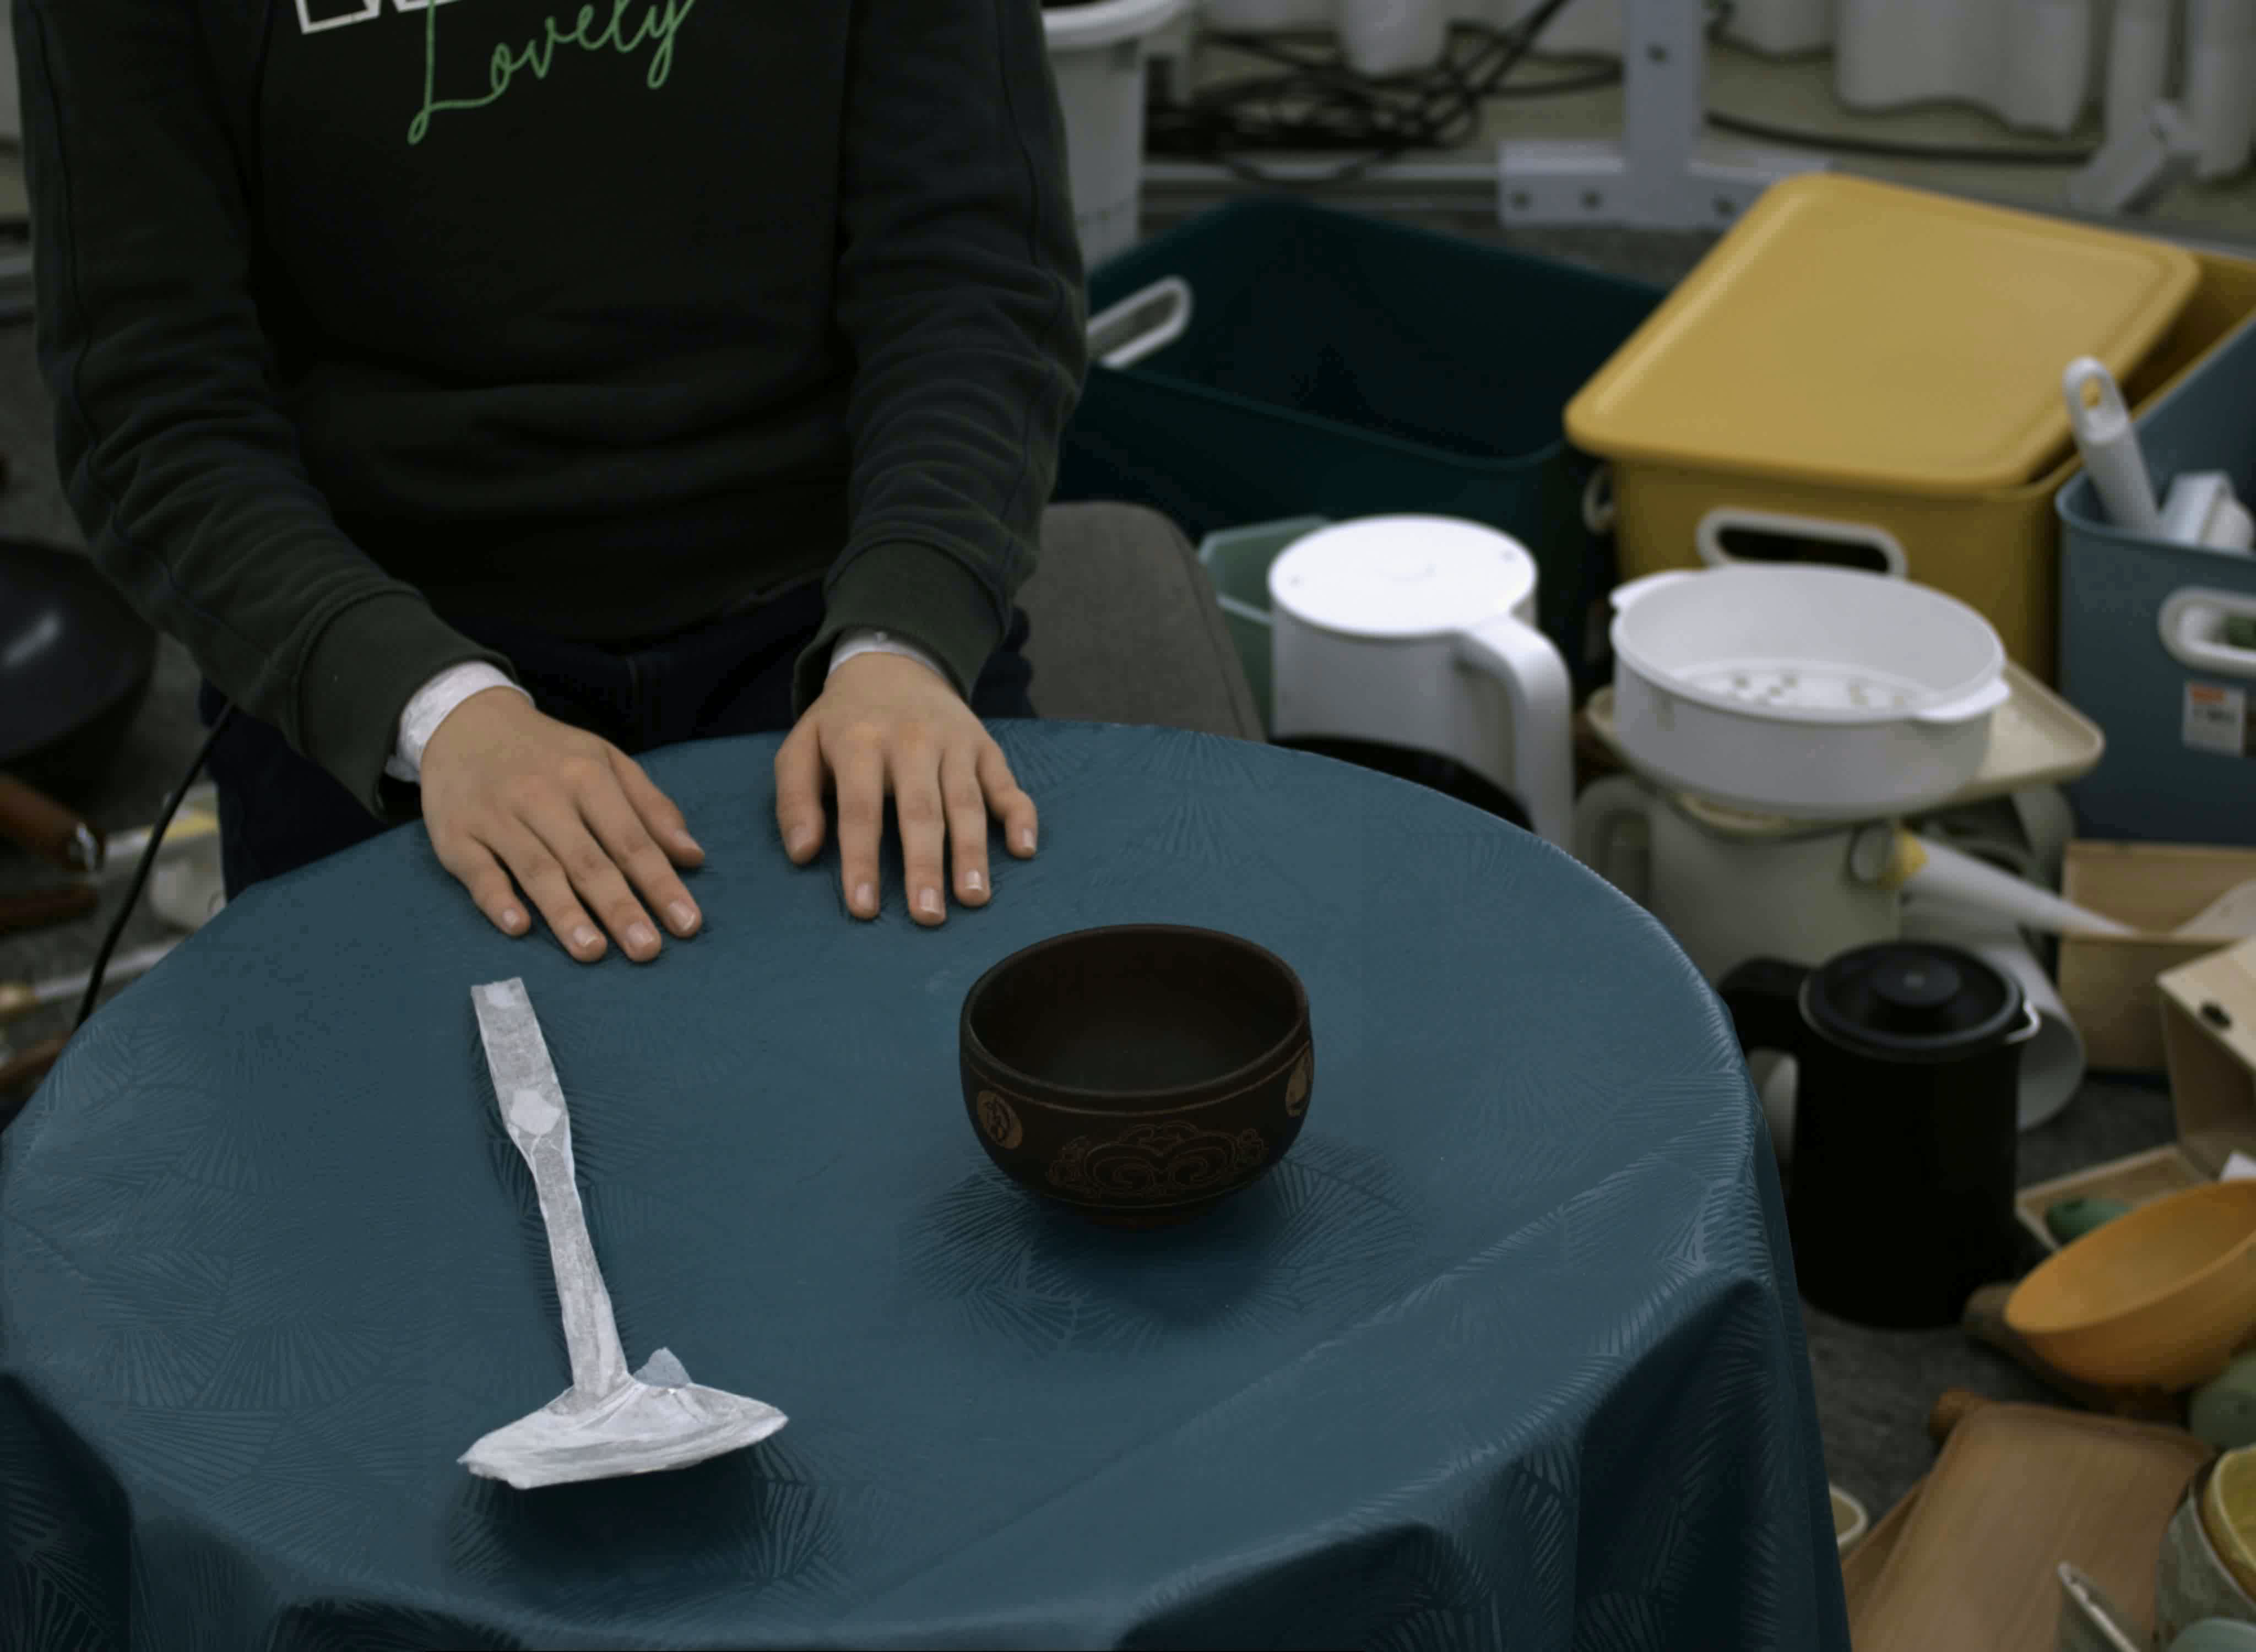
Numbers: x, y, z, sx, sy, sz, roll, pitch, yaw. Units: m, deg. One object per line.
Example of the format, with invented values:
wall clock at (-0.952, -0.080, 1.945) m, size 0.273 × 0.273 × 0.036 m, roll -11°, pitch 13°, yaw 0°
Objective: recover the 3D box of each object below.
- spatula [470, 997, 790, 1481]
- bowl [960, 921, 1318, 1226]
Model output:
spatula at (-0.179, 0.126, 1.828) m, size 0.098 × 0.044 × 0.369 m, roll -9°, pitch 28°, yaw -8°
bowl at (0.004, 0.088, 1.849) m, size 0.117 × 0.069 × 0.120 m, roll -1°, pitch 26°, yaw 1°
